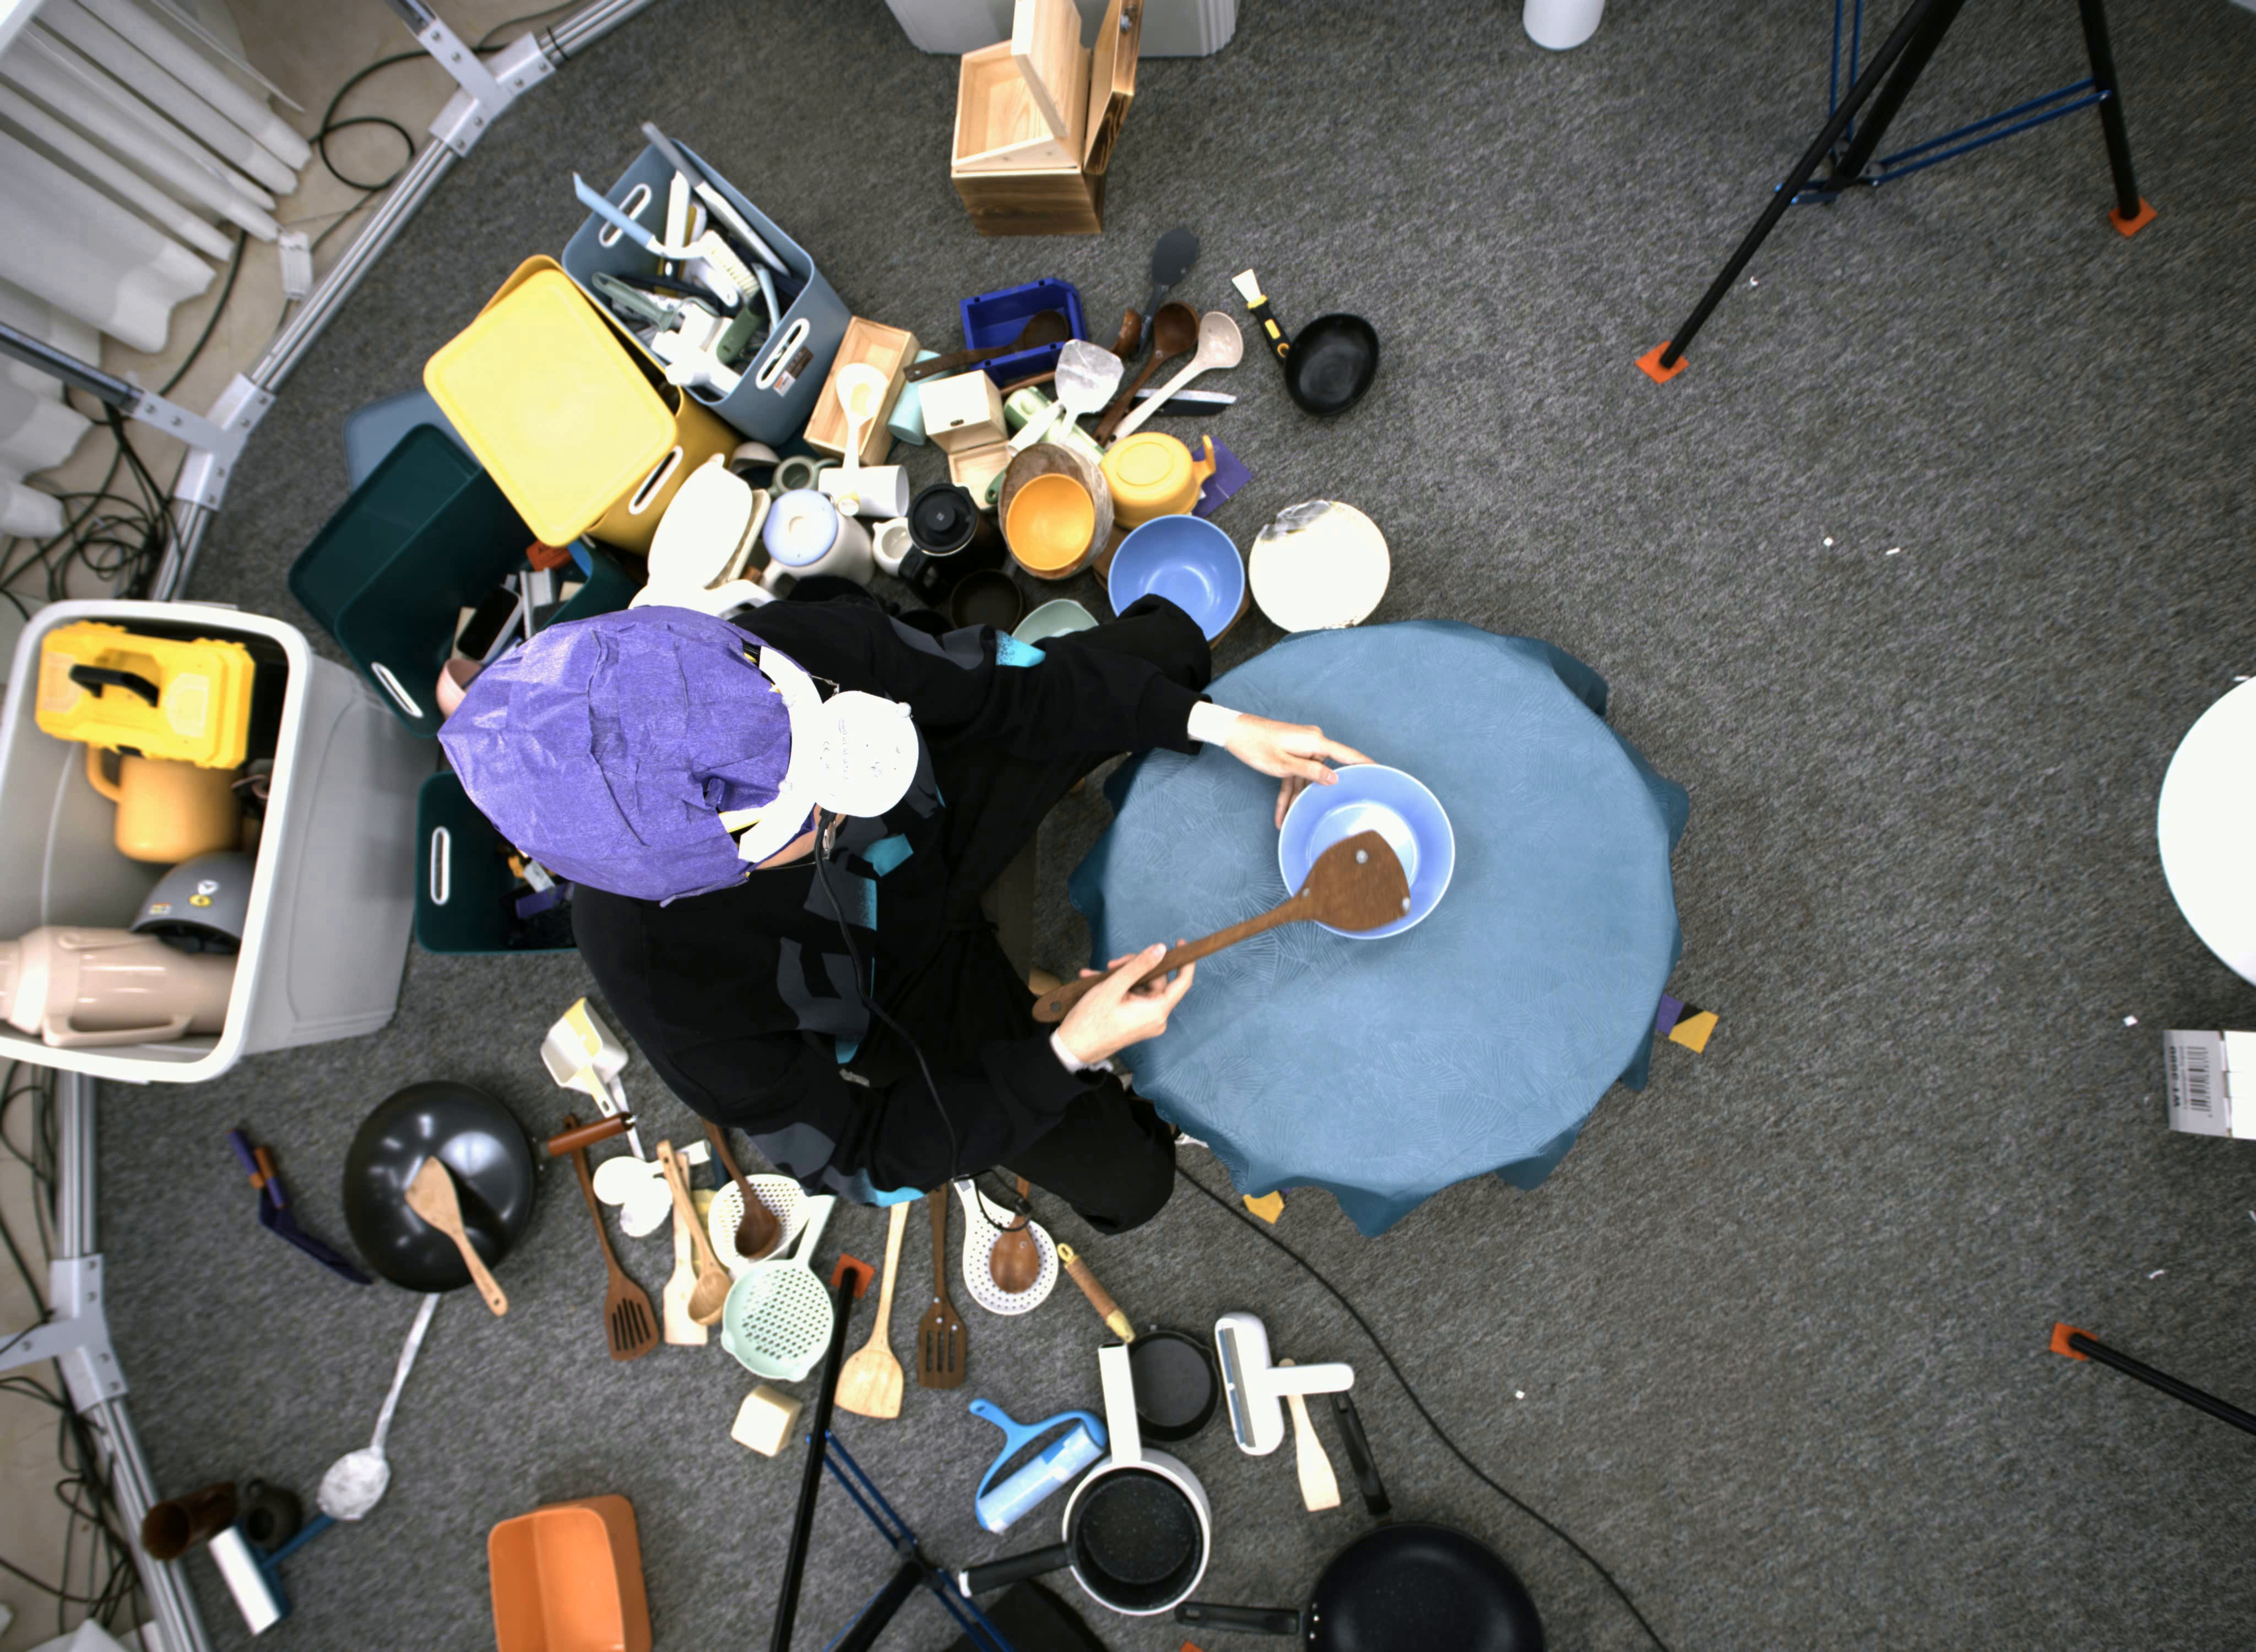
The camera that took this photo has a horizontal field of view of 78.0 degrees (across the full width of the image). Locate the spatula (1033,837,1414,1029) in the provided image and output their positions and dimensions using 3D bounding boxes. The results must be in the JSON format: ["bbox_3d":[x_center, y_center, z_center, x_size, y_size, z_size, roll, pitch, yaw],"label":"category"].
[{"bbox_3d":[0.092,0.113,1.315,0.384,0.016,0.095,-20,85,-9],"label":"spatula"}]

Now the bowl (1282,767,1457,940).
[{"bbox_3d":[0.246,0.030,1.419,0.176,0.070,0.175,-1,85,8],"label":"bowl"}]
